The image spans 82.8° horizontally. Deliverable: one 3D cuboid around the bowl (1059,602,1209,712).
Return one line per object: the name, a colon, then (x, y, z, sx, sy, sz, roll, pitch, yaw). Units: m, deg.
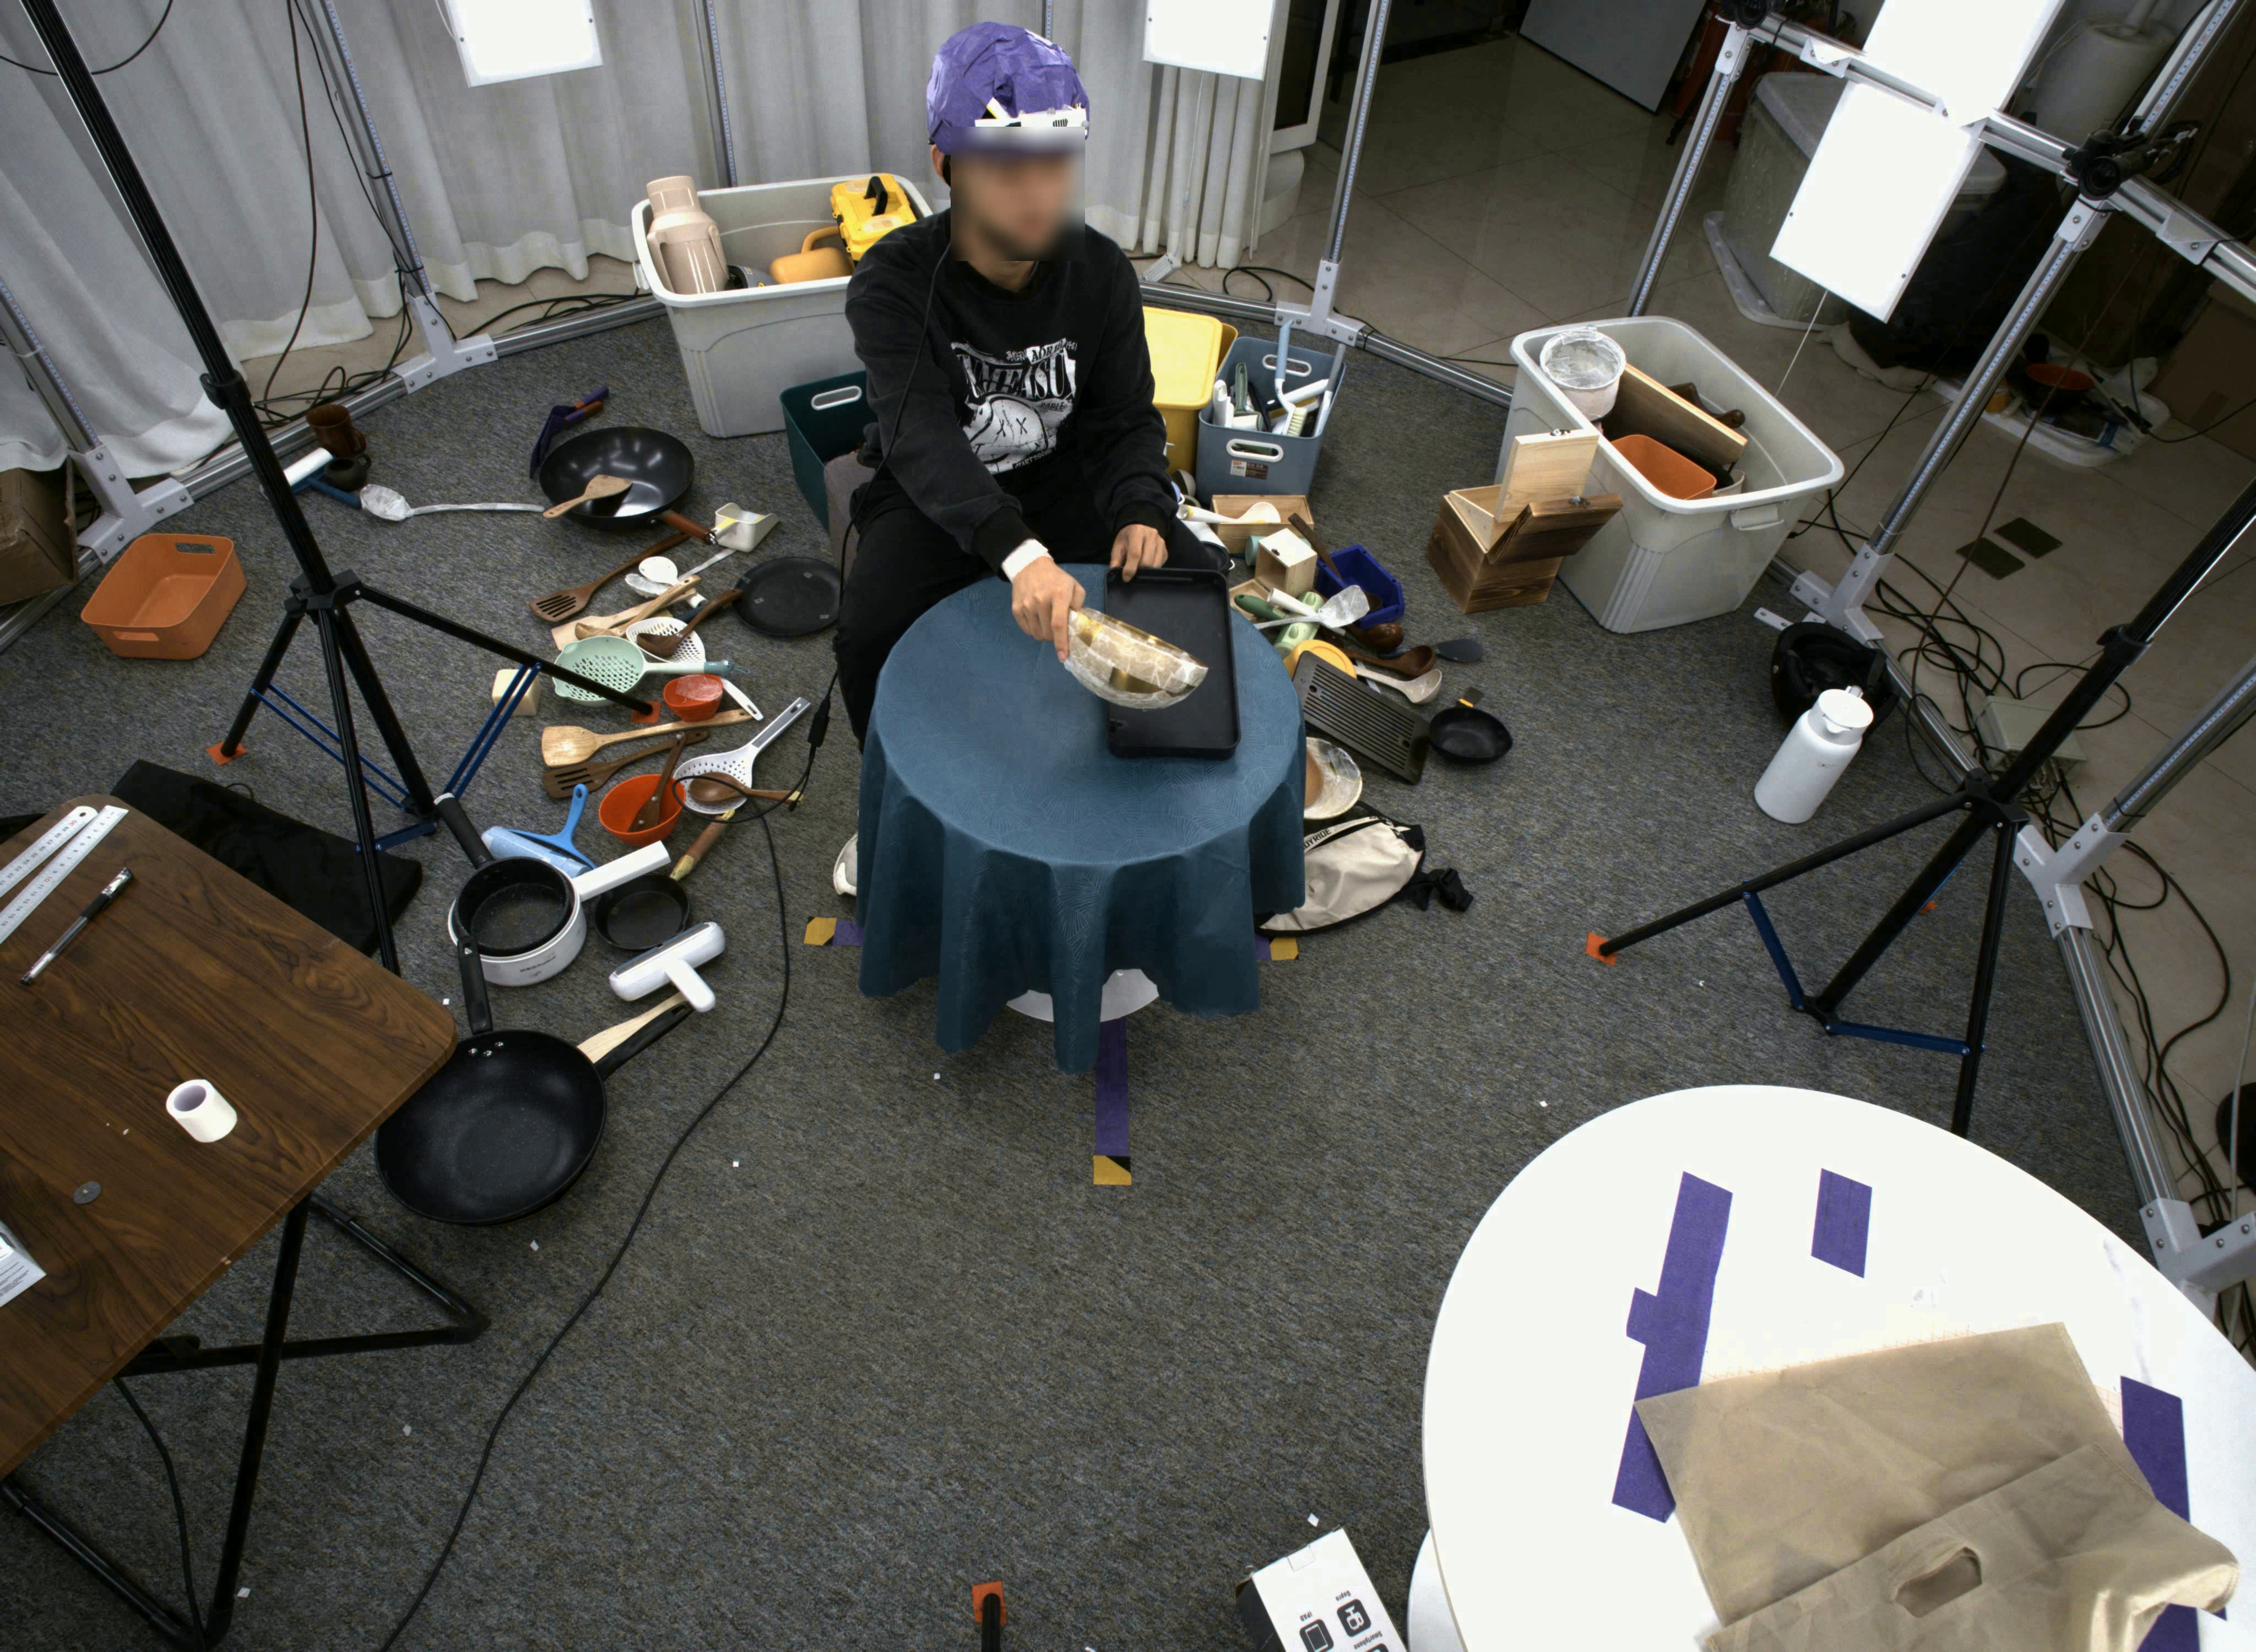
bowl: (-0.005, -0.206, 1.660, 0.214, 0.094, 0.217, 22, 13, -5)

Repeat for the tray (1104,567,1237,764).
tray: (0.058, -0.233, 1.838, 0.184, 0.036, 0.325, 3, 58, -4)
